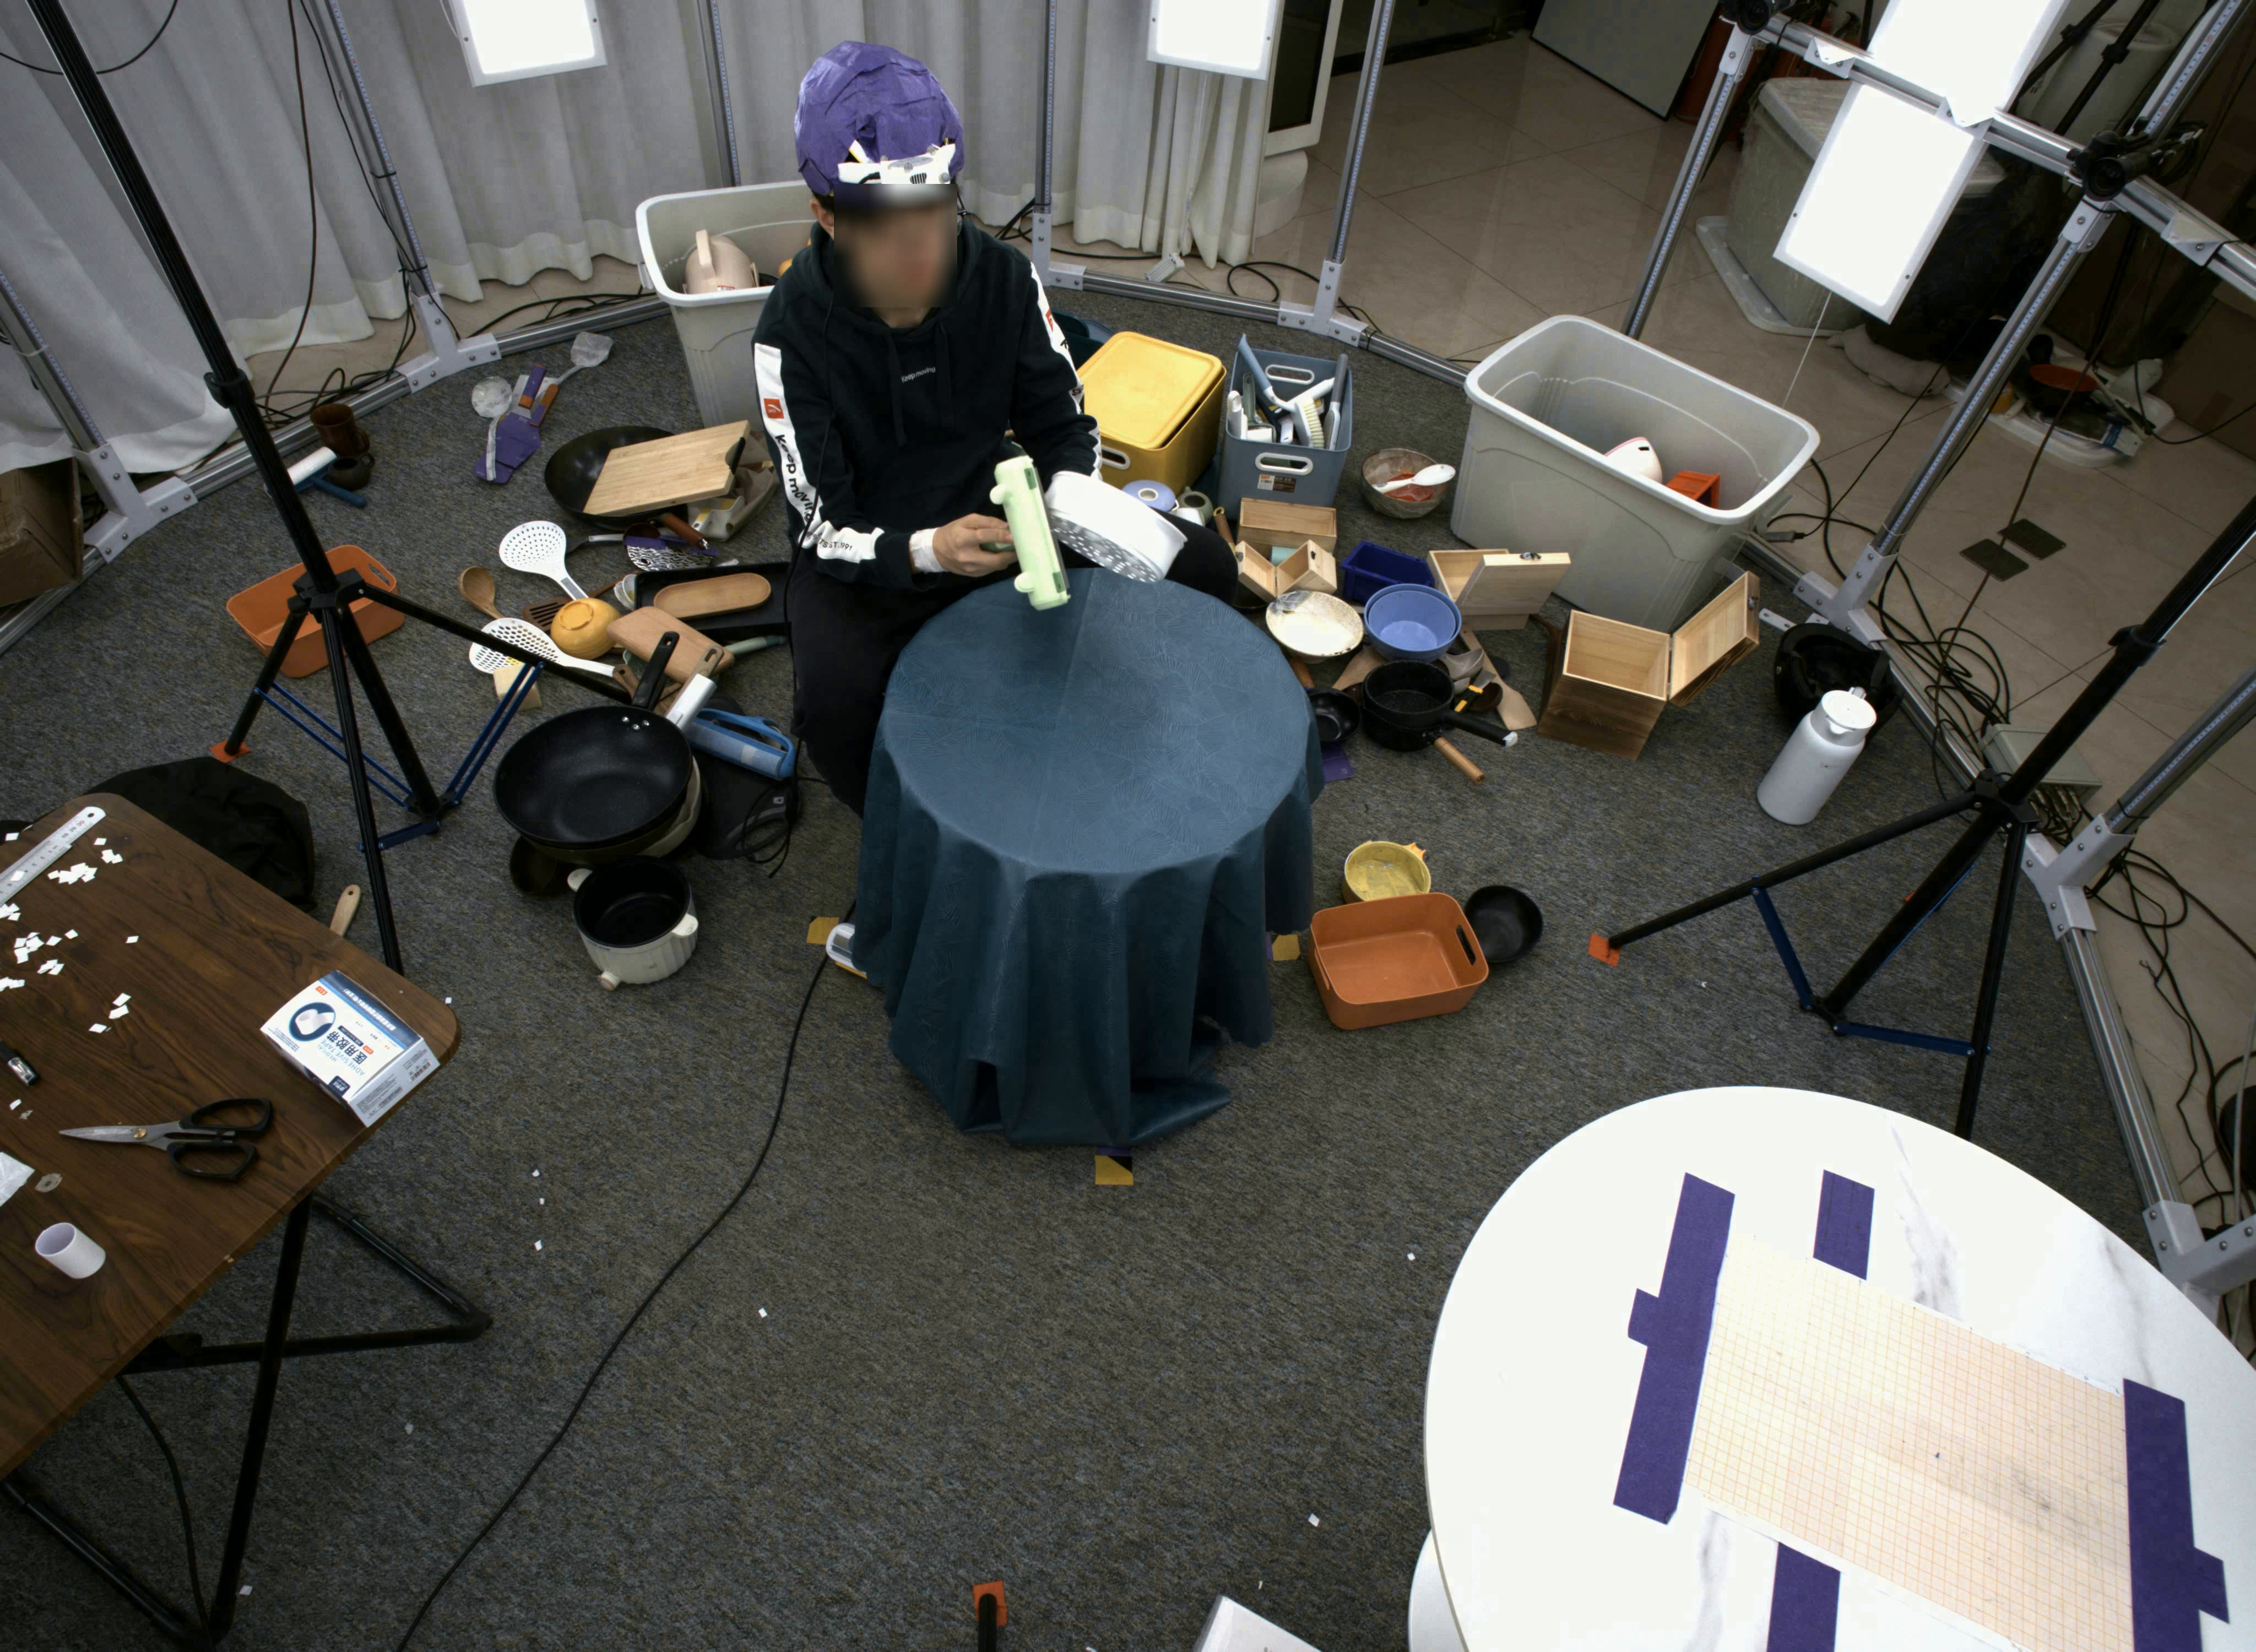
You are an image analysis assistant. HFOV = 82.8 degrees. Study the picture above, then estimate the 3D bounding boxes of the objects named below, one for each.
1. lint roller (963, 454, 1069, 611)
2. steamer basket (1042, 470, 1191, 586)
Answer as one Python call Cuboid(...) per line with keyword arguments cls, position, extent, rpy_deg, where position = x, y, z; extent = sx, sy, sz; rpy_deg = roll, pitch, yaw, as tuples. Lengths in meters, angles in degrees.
Cuboid(cls="lint roller", position=(-0.173, -0.375, 1.710), extent=(0.183, 0.196, 0.083), rpy_deg=(-5, 16, 40))
Cuboid(cls="steamer basket", position=(-0.022, -0.398, 1.745), extent=(0.234, 0.198, 0.069), rpy_deg=(28, 89, 37))
